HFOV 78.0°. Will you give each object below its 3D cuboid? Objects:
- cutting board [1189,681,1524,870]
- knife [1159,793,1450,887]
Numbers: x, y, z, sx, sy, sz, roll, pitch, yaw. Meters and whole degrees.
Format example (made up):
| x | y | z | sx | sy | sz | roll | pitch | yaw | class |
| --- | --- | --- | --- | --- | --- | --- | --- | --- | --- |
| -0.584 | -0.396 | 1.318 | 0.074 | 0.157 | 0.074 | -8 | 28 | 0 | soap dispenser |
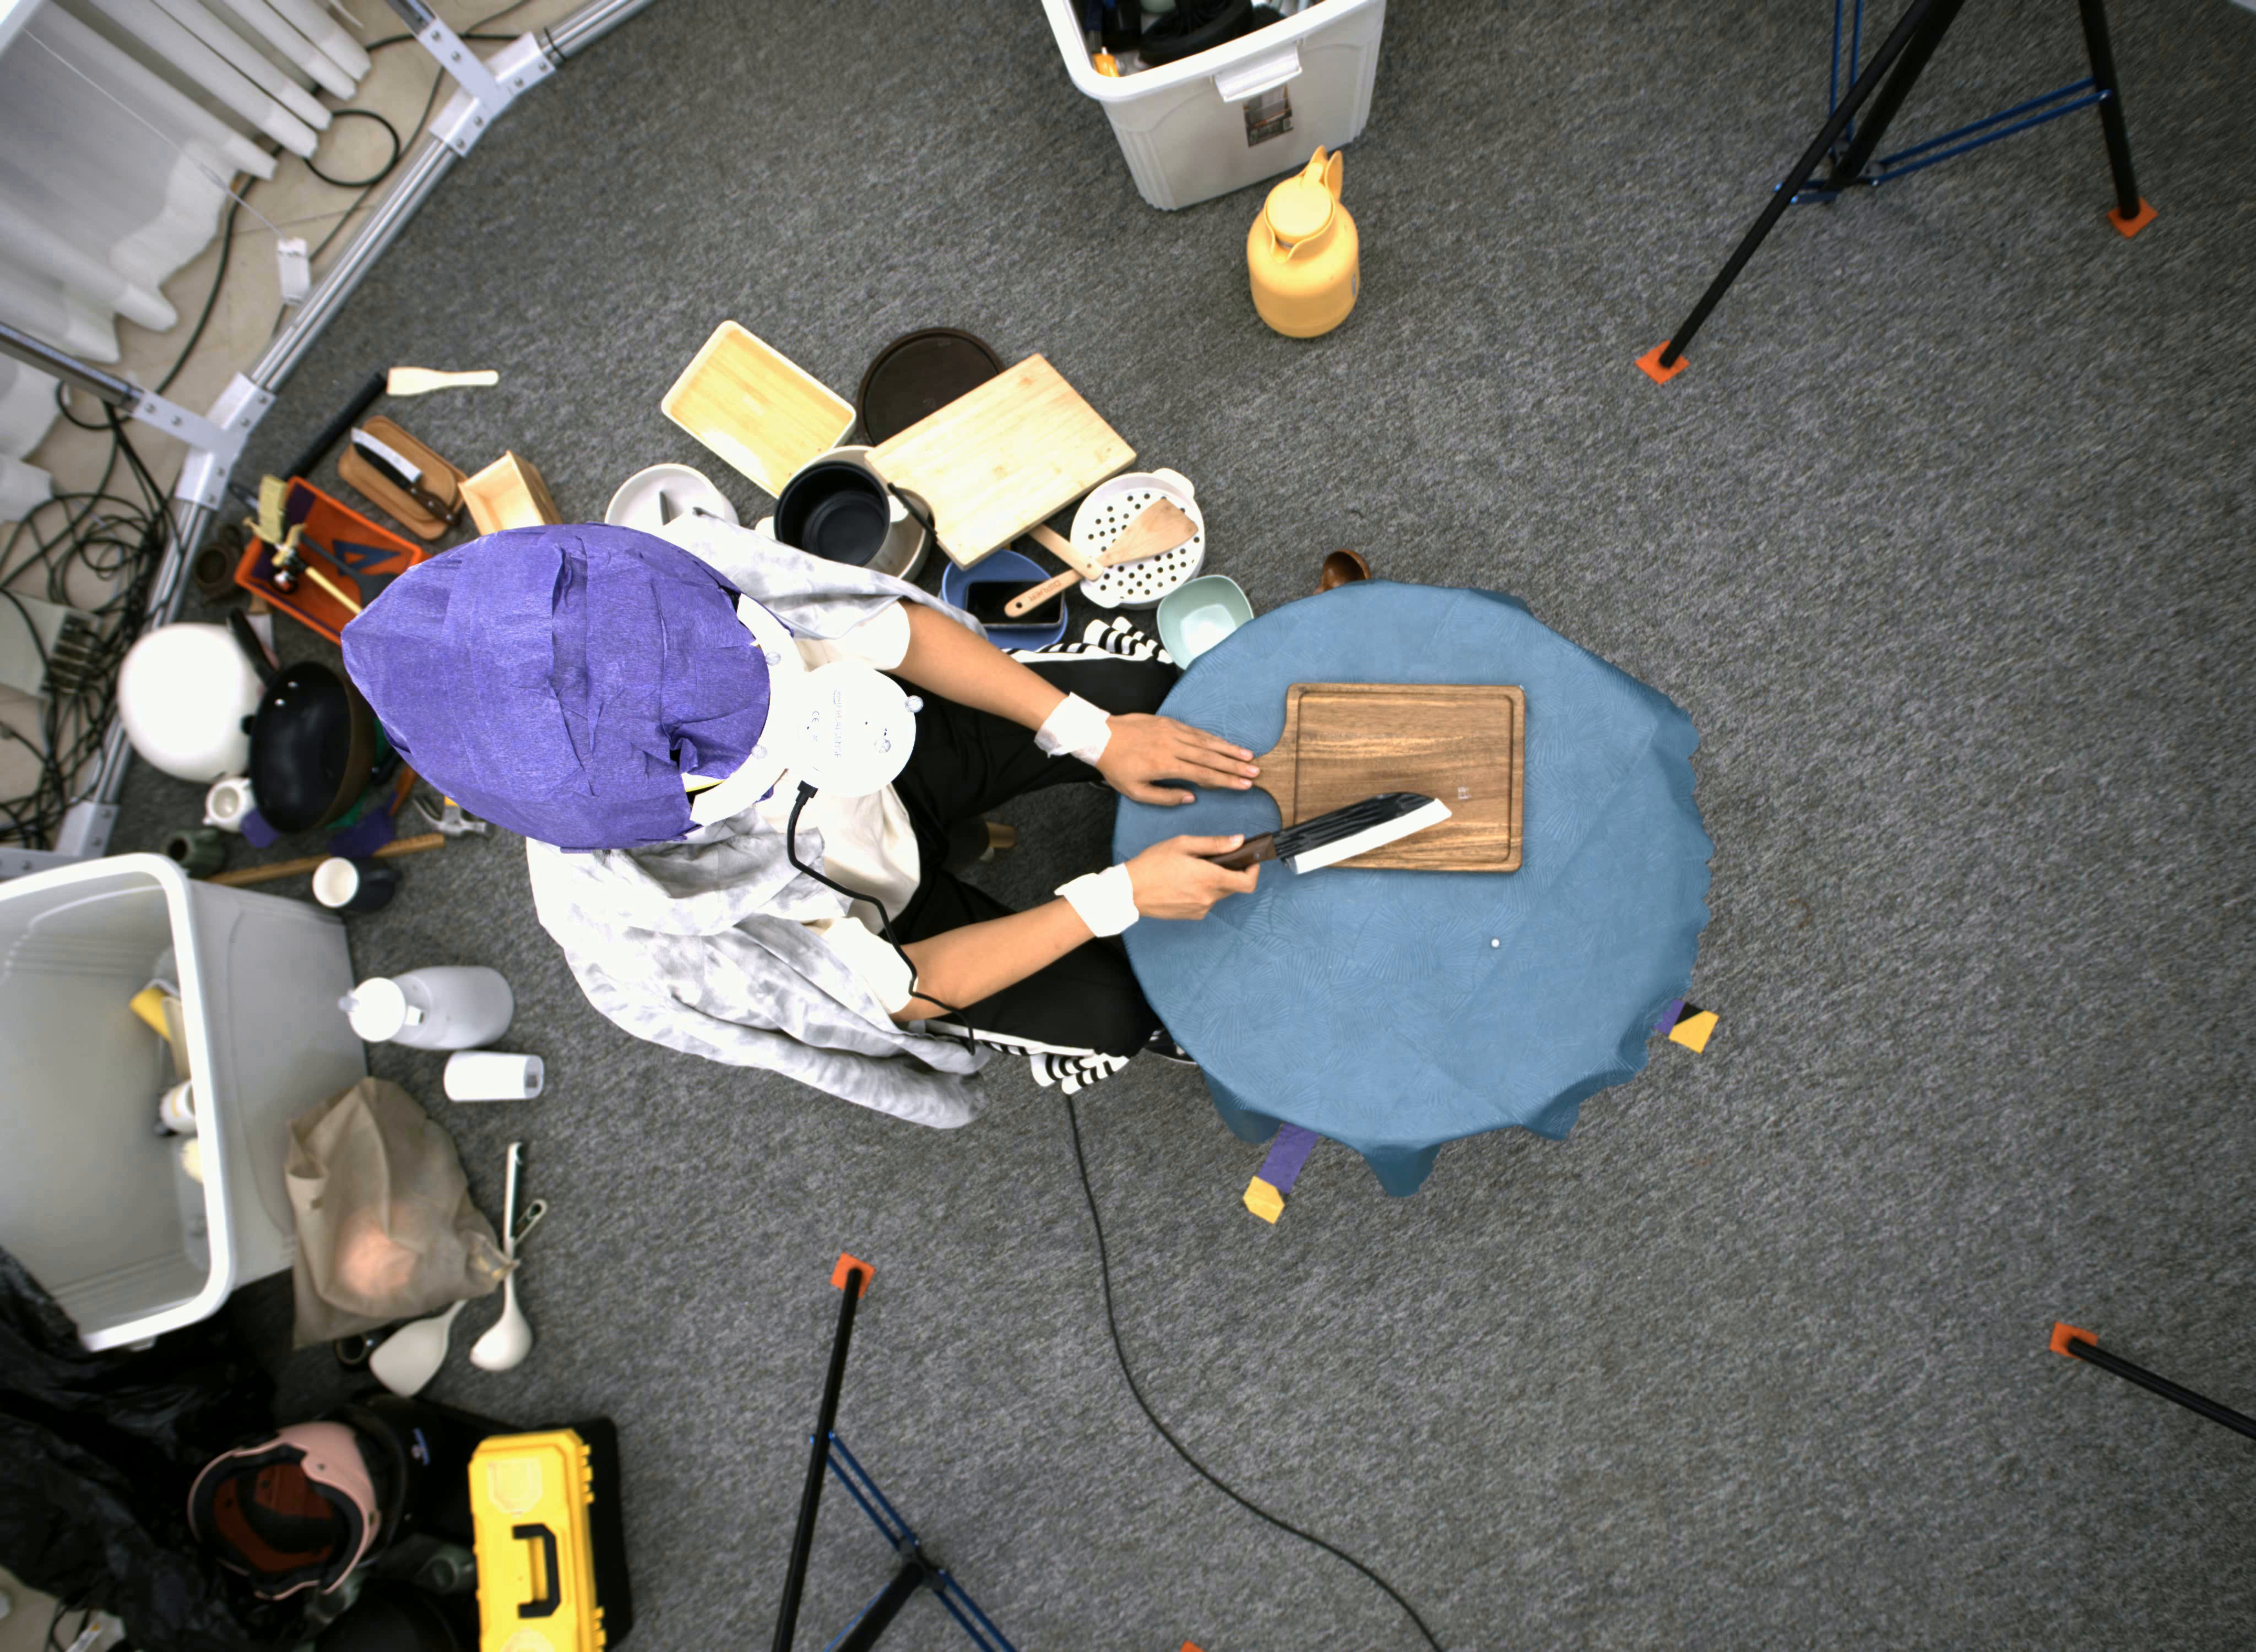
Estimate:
| x | y | z | sx | sy | sz | roll | pitch | yaw | class |
| --- | --- | --- | --- | --- | --- | --- | --- | --- | --- |
| 0.240 | -0.056 | 1.462 | 0.353 | 0.023 | 0.200 | 1 | 88 | 11 | cutting board |
| 0.180 | 0.019 | 1.416 | 0.302 | 0.069 | 0.023 | -18 | 43 | 13 | knife |
